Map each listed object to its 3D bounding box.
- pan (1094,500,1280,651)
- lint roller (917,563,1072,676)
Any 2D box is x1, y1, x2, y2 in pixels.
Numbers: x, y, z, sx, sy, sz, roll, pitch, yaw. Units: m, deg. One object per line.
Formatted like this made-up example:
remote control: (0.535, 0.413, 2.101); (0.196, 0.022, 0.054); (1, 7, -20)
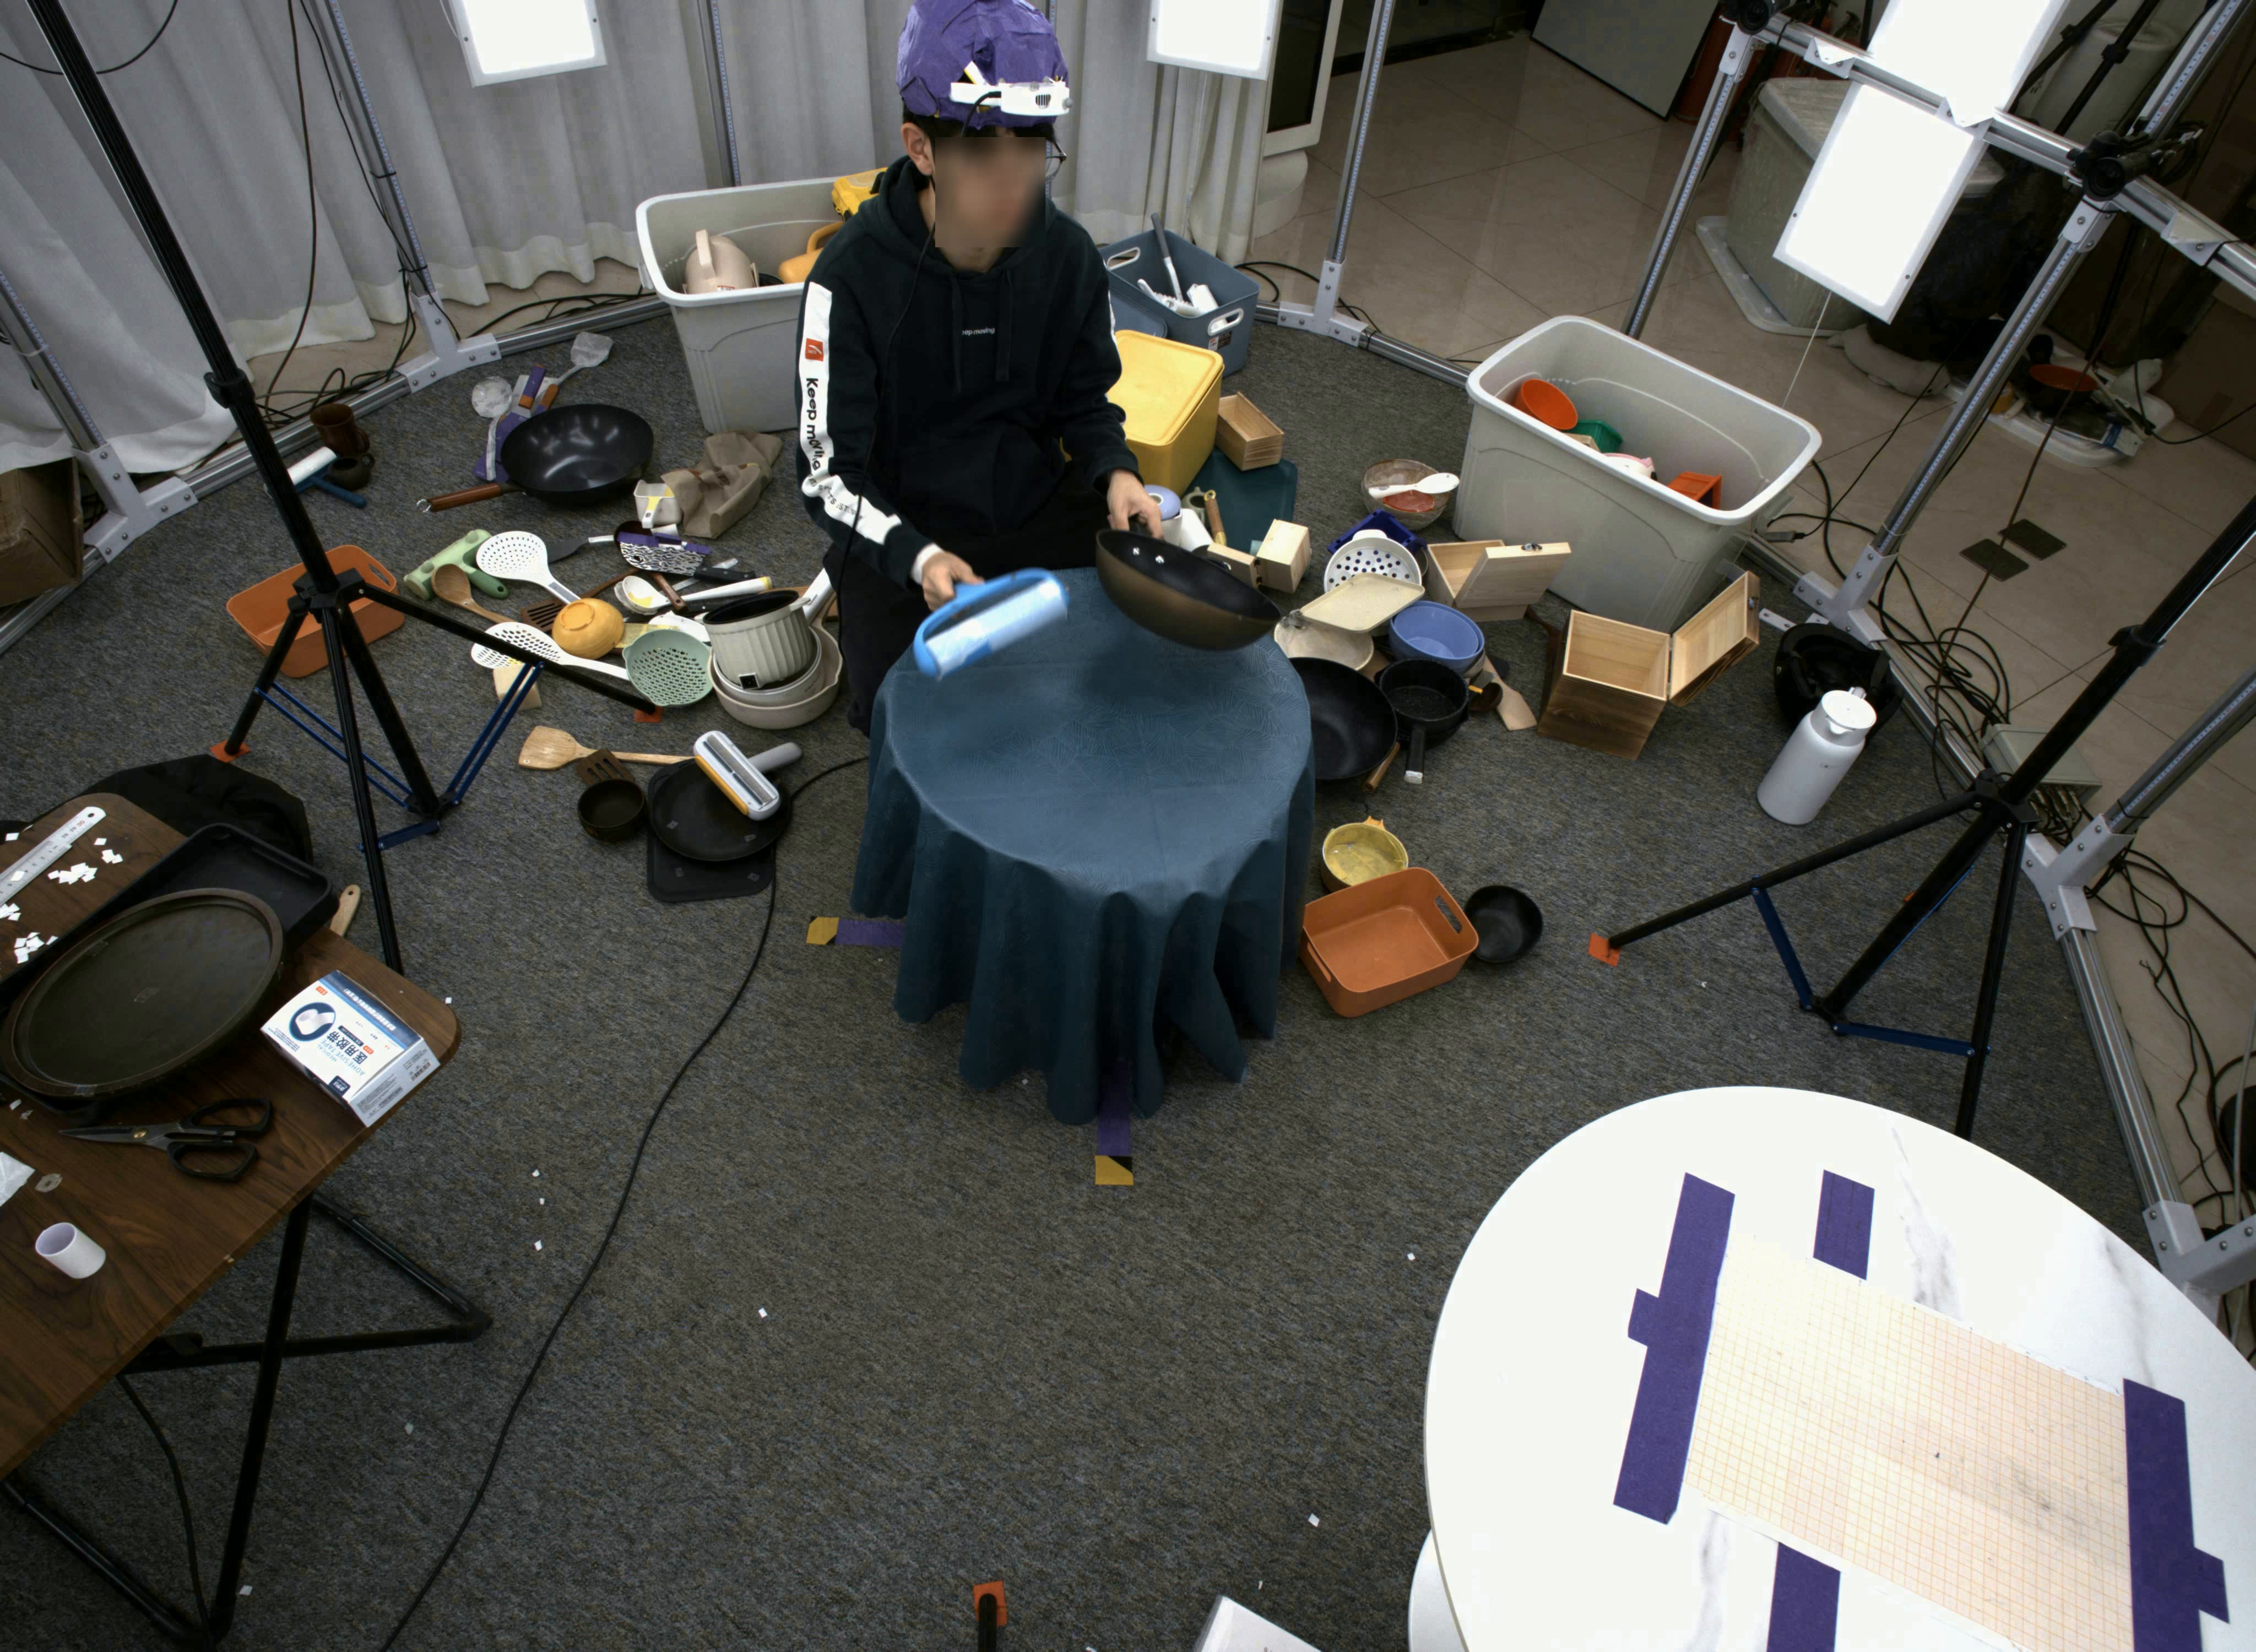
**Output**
pan: (0.035, -0.365, 1.856); (0.285, 0.086, 0.473); (13, 24, -30)
lint roller: (-0.207, -0.296, 1.732); (0.230, 0.066, 0.183); (-36, 48, -20)
